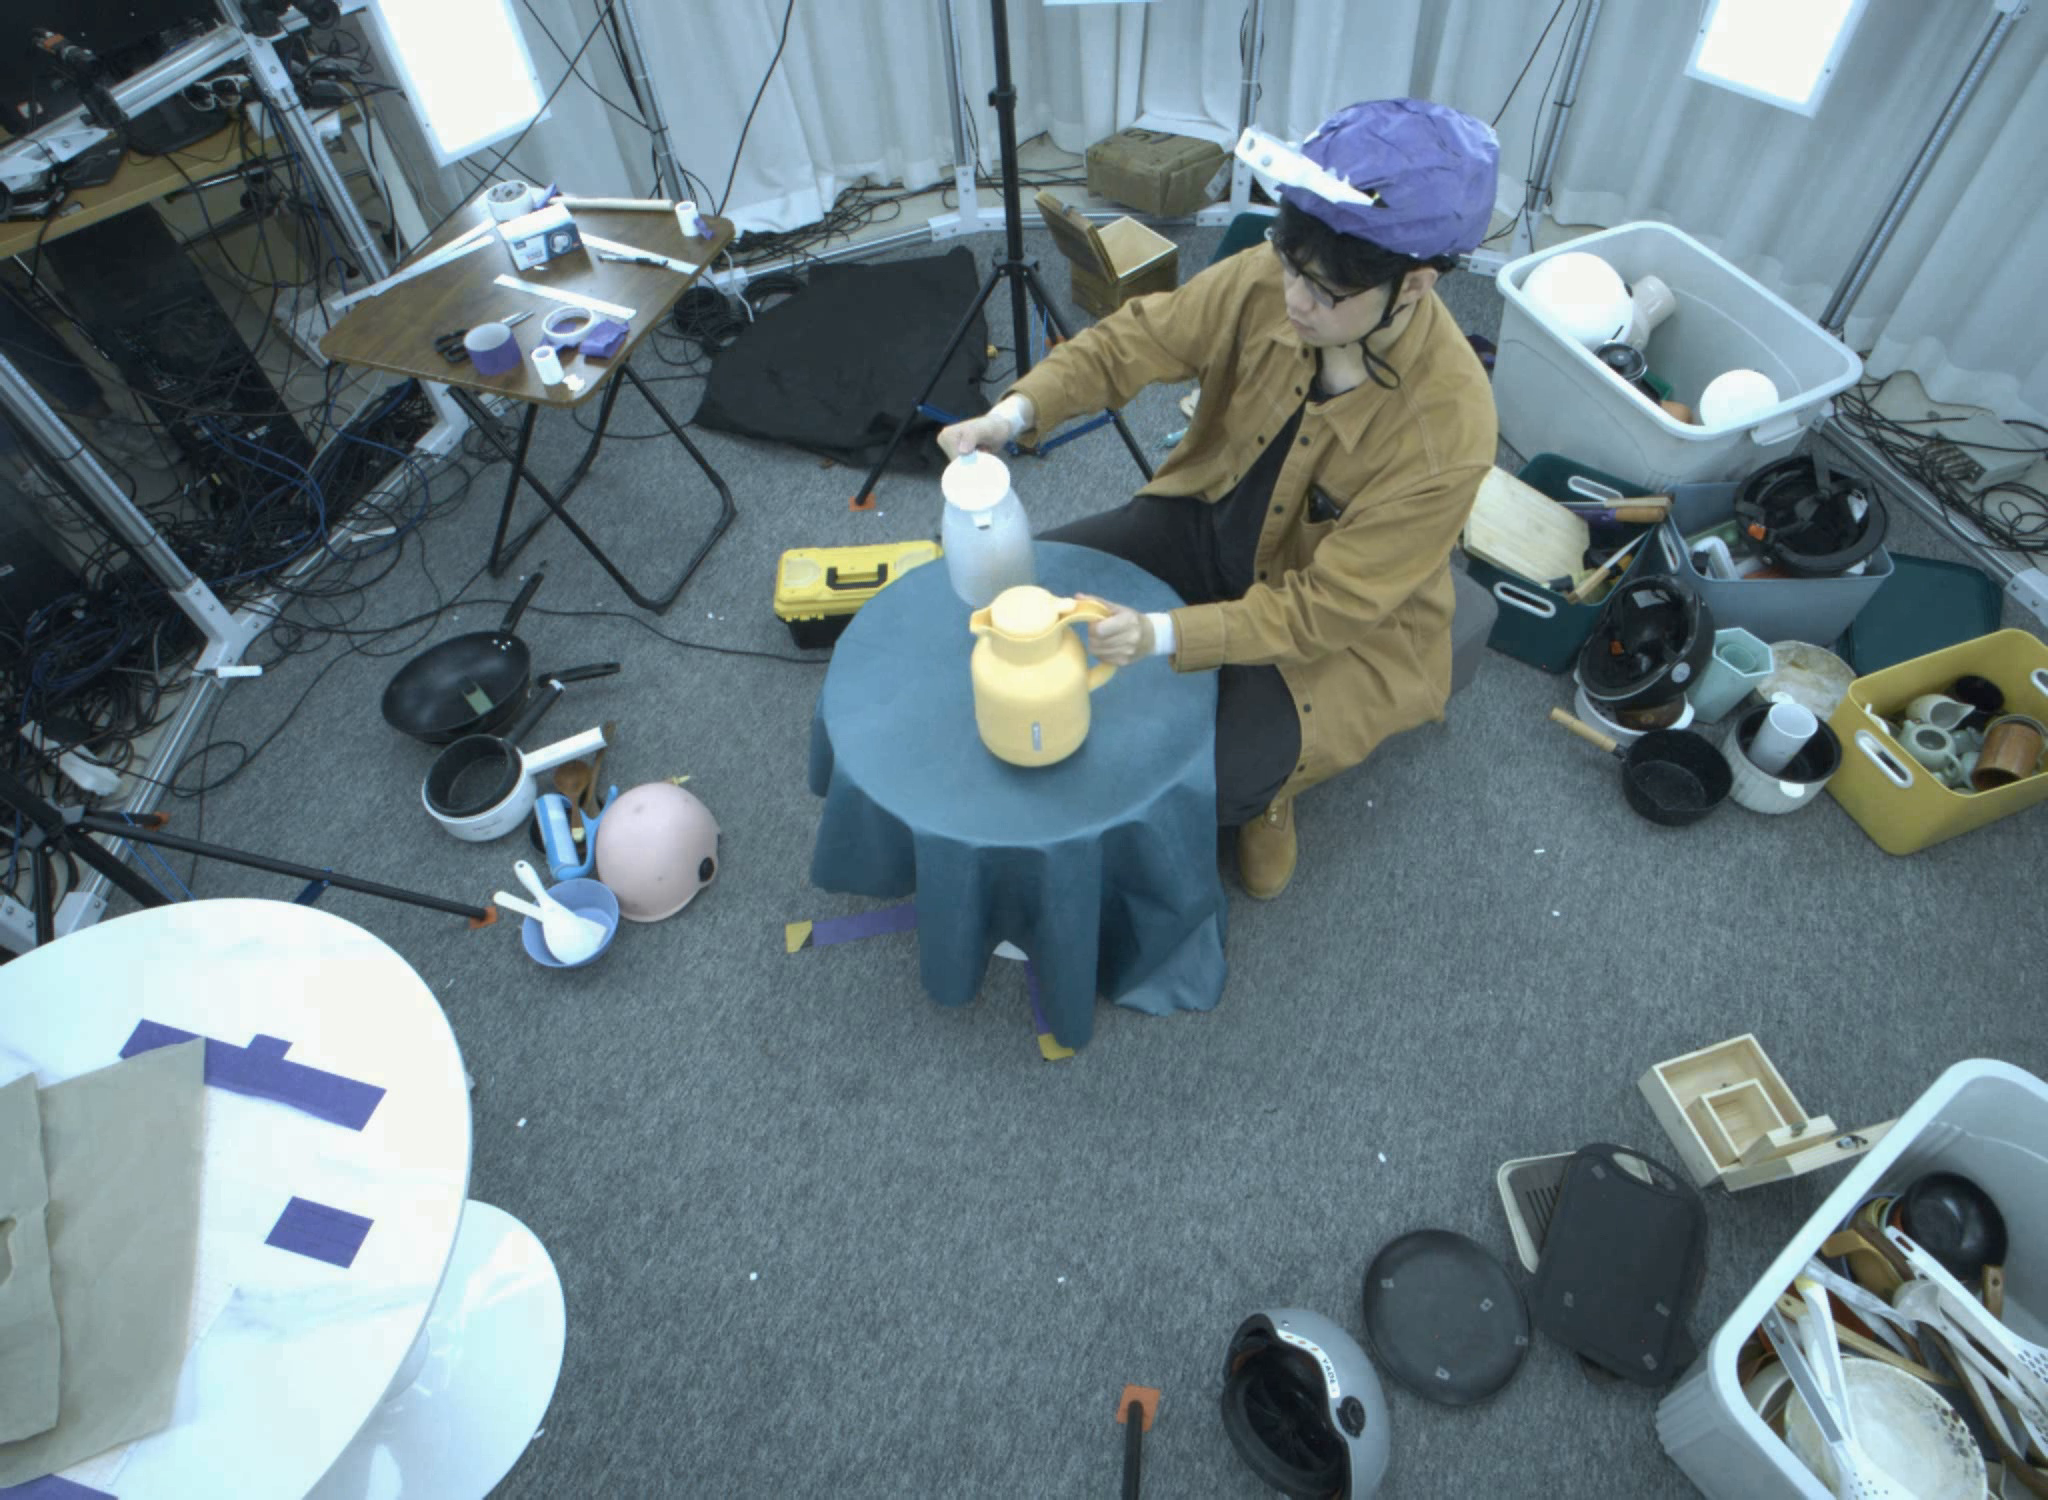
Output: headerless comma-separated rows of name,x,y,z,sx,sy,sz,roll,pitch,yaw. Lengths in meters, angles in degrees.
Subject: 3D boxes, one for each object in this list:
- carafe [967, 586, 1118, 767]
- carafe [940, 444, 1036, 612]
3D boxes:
carafe,0.027,-0.106,1.677,0.202,0.263,0.161,-7,53,0
carafe,-0.062,-0.329,1.734,0.132,0.251,0.166,-11,66,0
